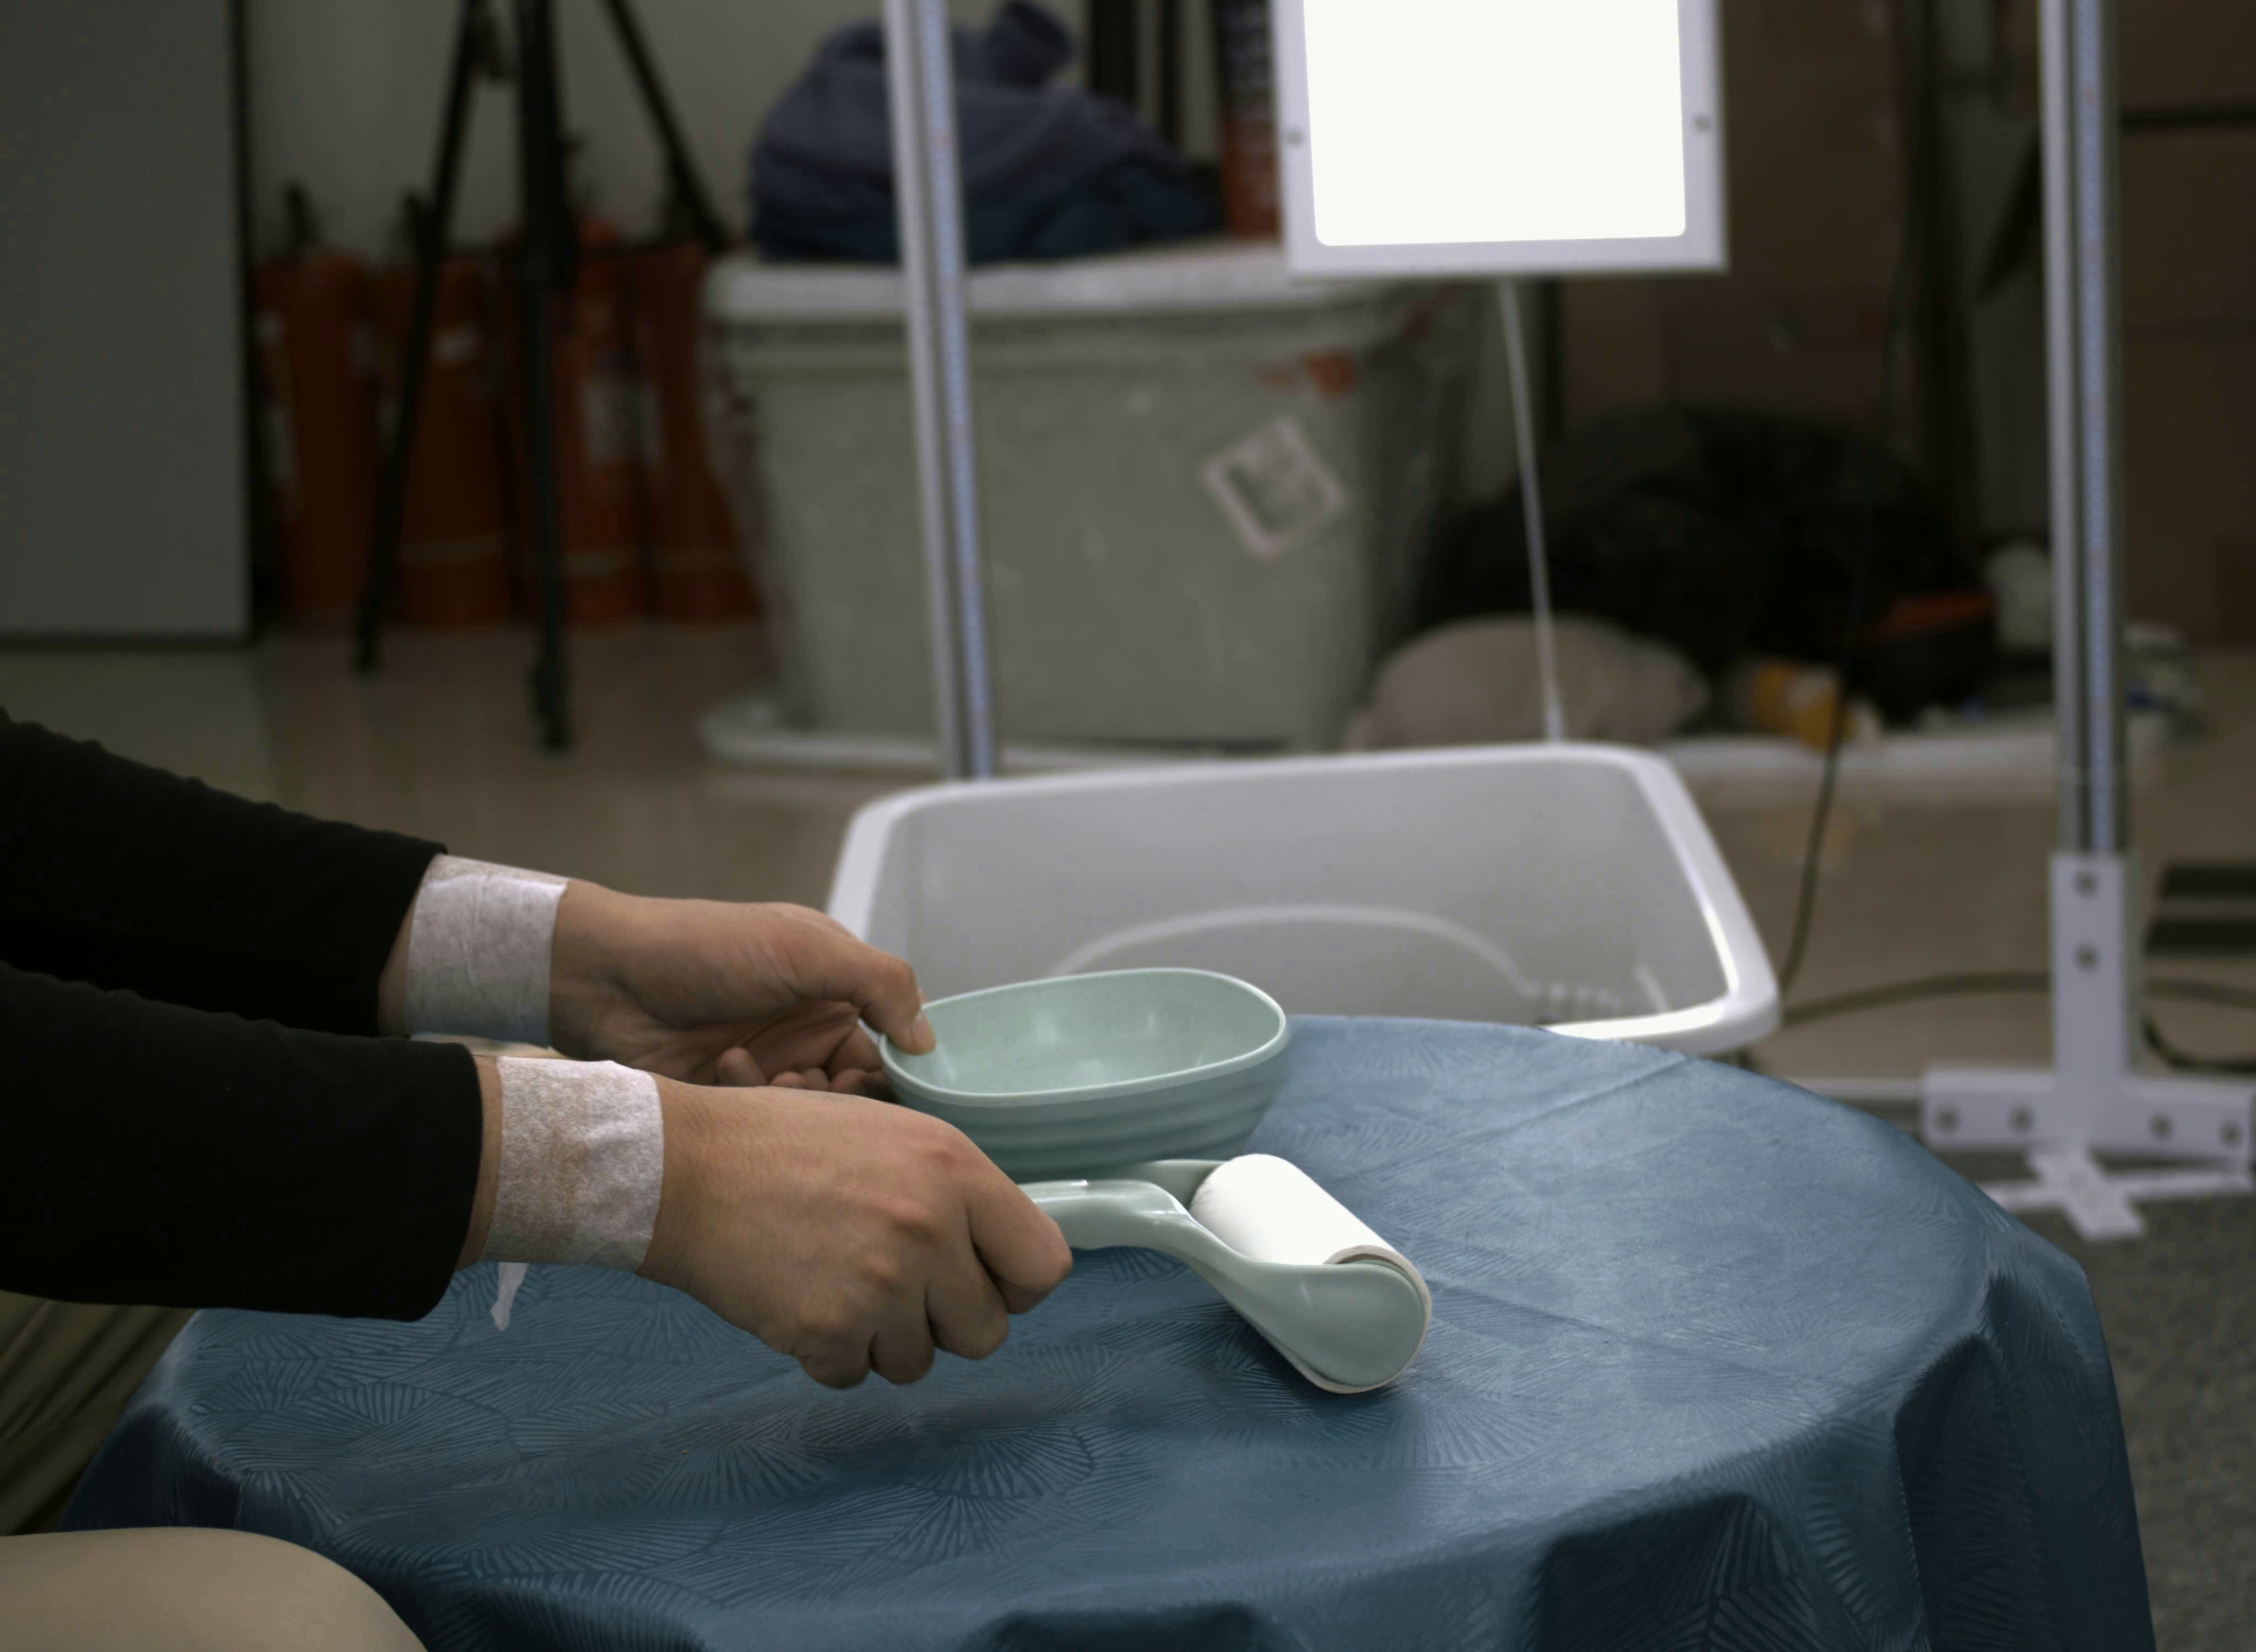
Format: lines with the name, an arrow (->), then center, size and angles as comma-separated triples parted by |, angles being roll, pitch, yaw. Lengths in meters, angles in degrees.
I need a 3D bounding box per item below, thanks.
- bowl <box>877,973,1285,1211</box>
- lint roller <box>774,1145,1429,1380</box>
bowl -> -0.015, 0.098, 1.899 | 0.151, 0.059, 0.151 | -4, 14, 0
lint roller -> -0.015, 0.134, 1.707 | 0.194, 0.049, 0.118 | 3, 13, -19
